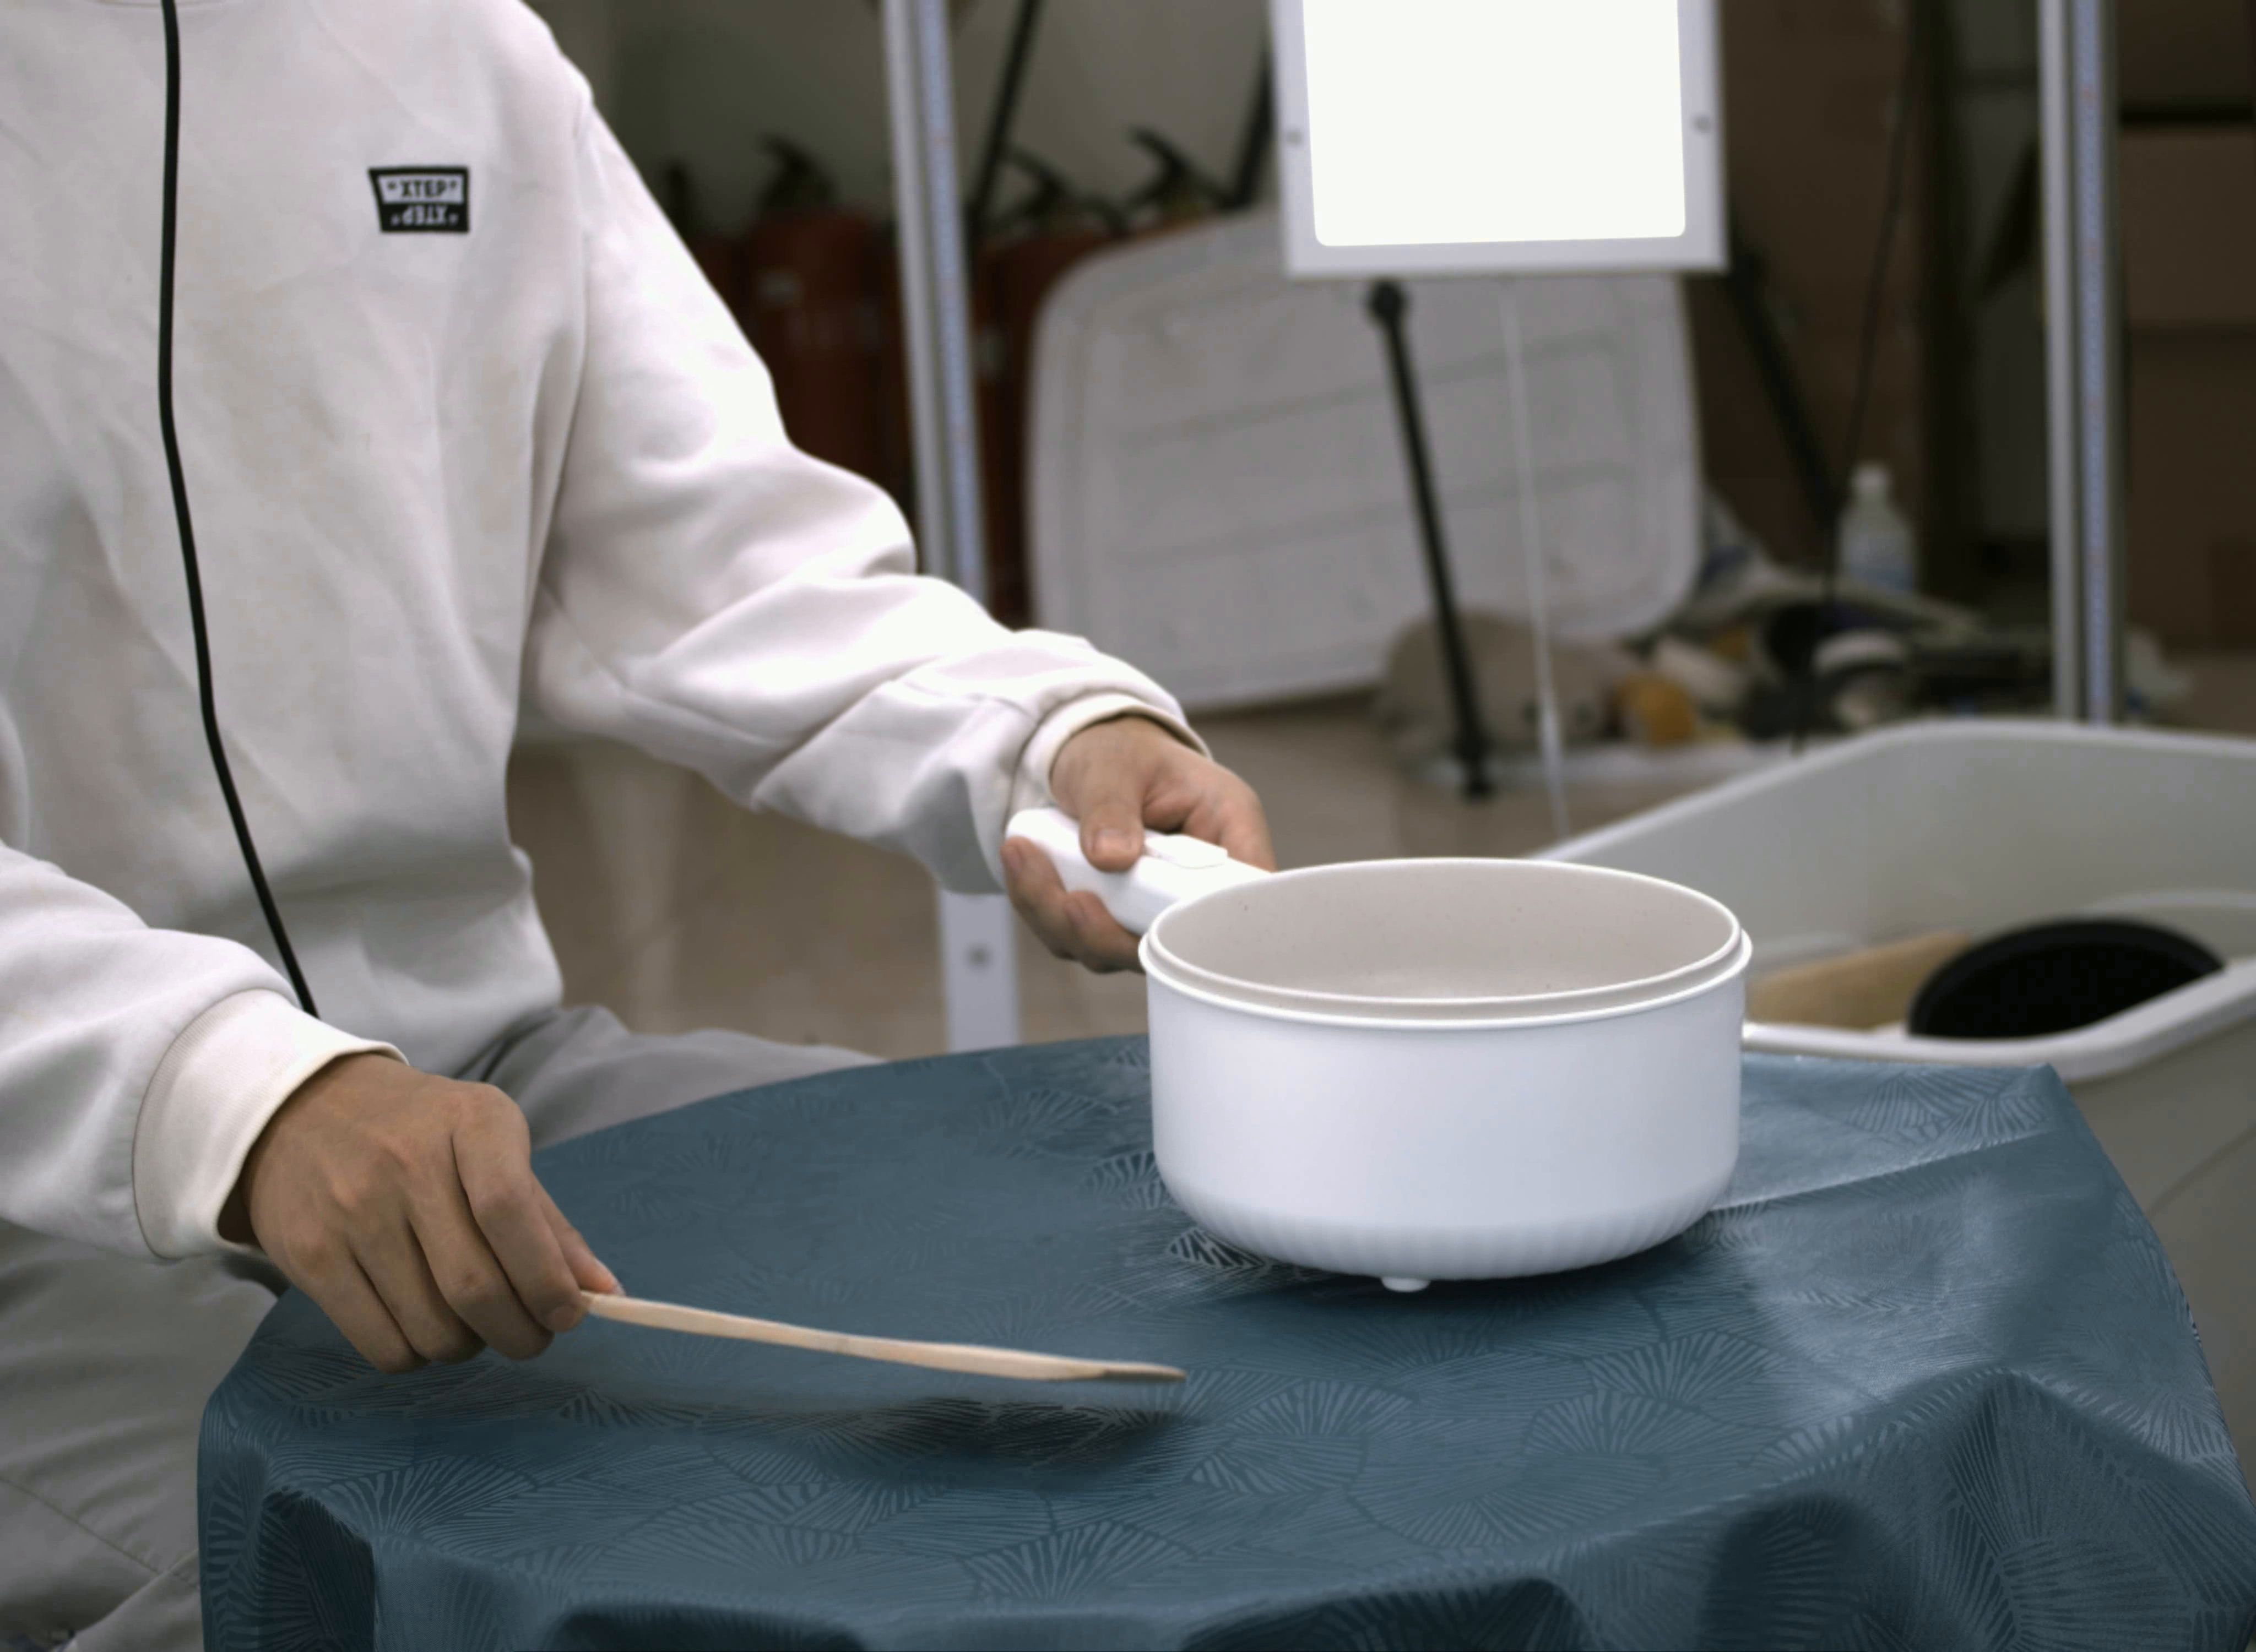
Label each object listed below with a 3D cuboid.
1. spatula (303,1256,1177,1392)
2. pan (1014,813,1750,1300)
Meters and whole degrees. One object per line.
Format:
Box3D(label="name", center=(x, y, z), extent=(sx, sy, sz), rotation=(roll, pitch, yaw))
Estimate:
Box3D(label="spatula", center=(-0.129, 0.155, 1.711), extent=(0.298, 0.011, 0.071), rotation=(6, -3, 26))
Box3D(label="pan", center=(0.066, 0.072, 1.877), extent=(0.196, 0.102, 0.361), rotation=(-11, 15, -29))
